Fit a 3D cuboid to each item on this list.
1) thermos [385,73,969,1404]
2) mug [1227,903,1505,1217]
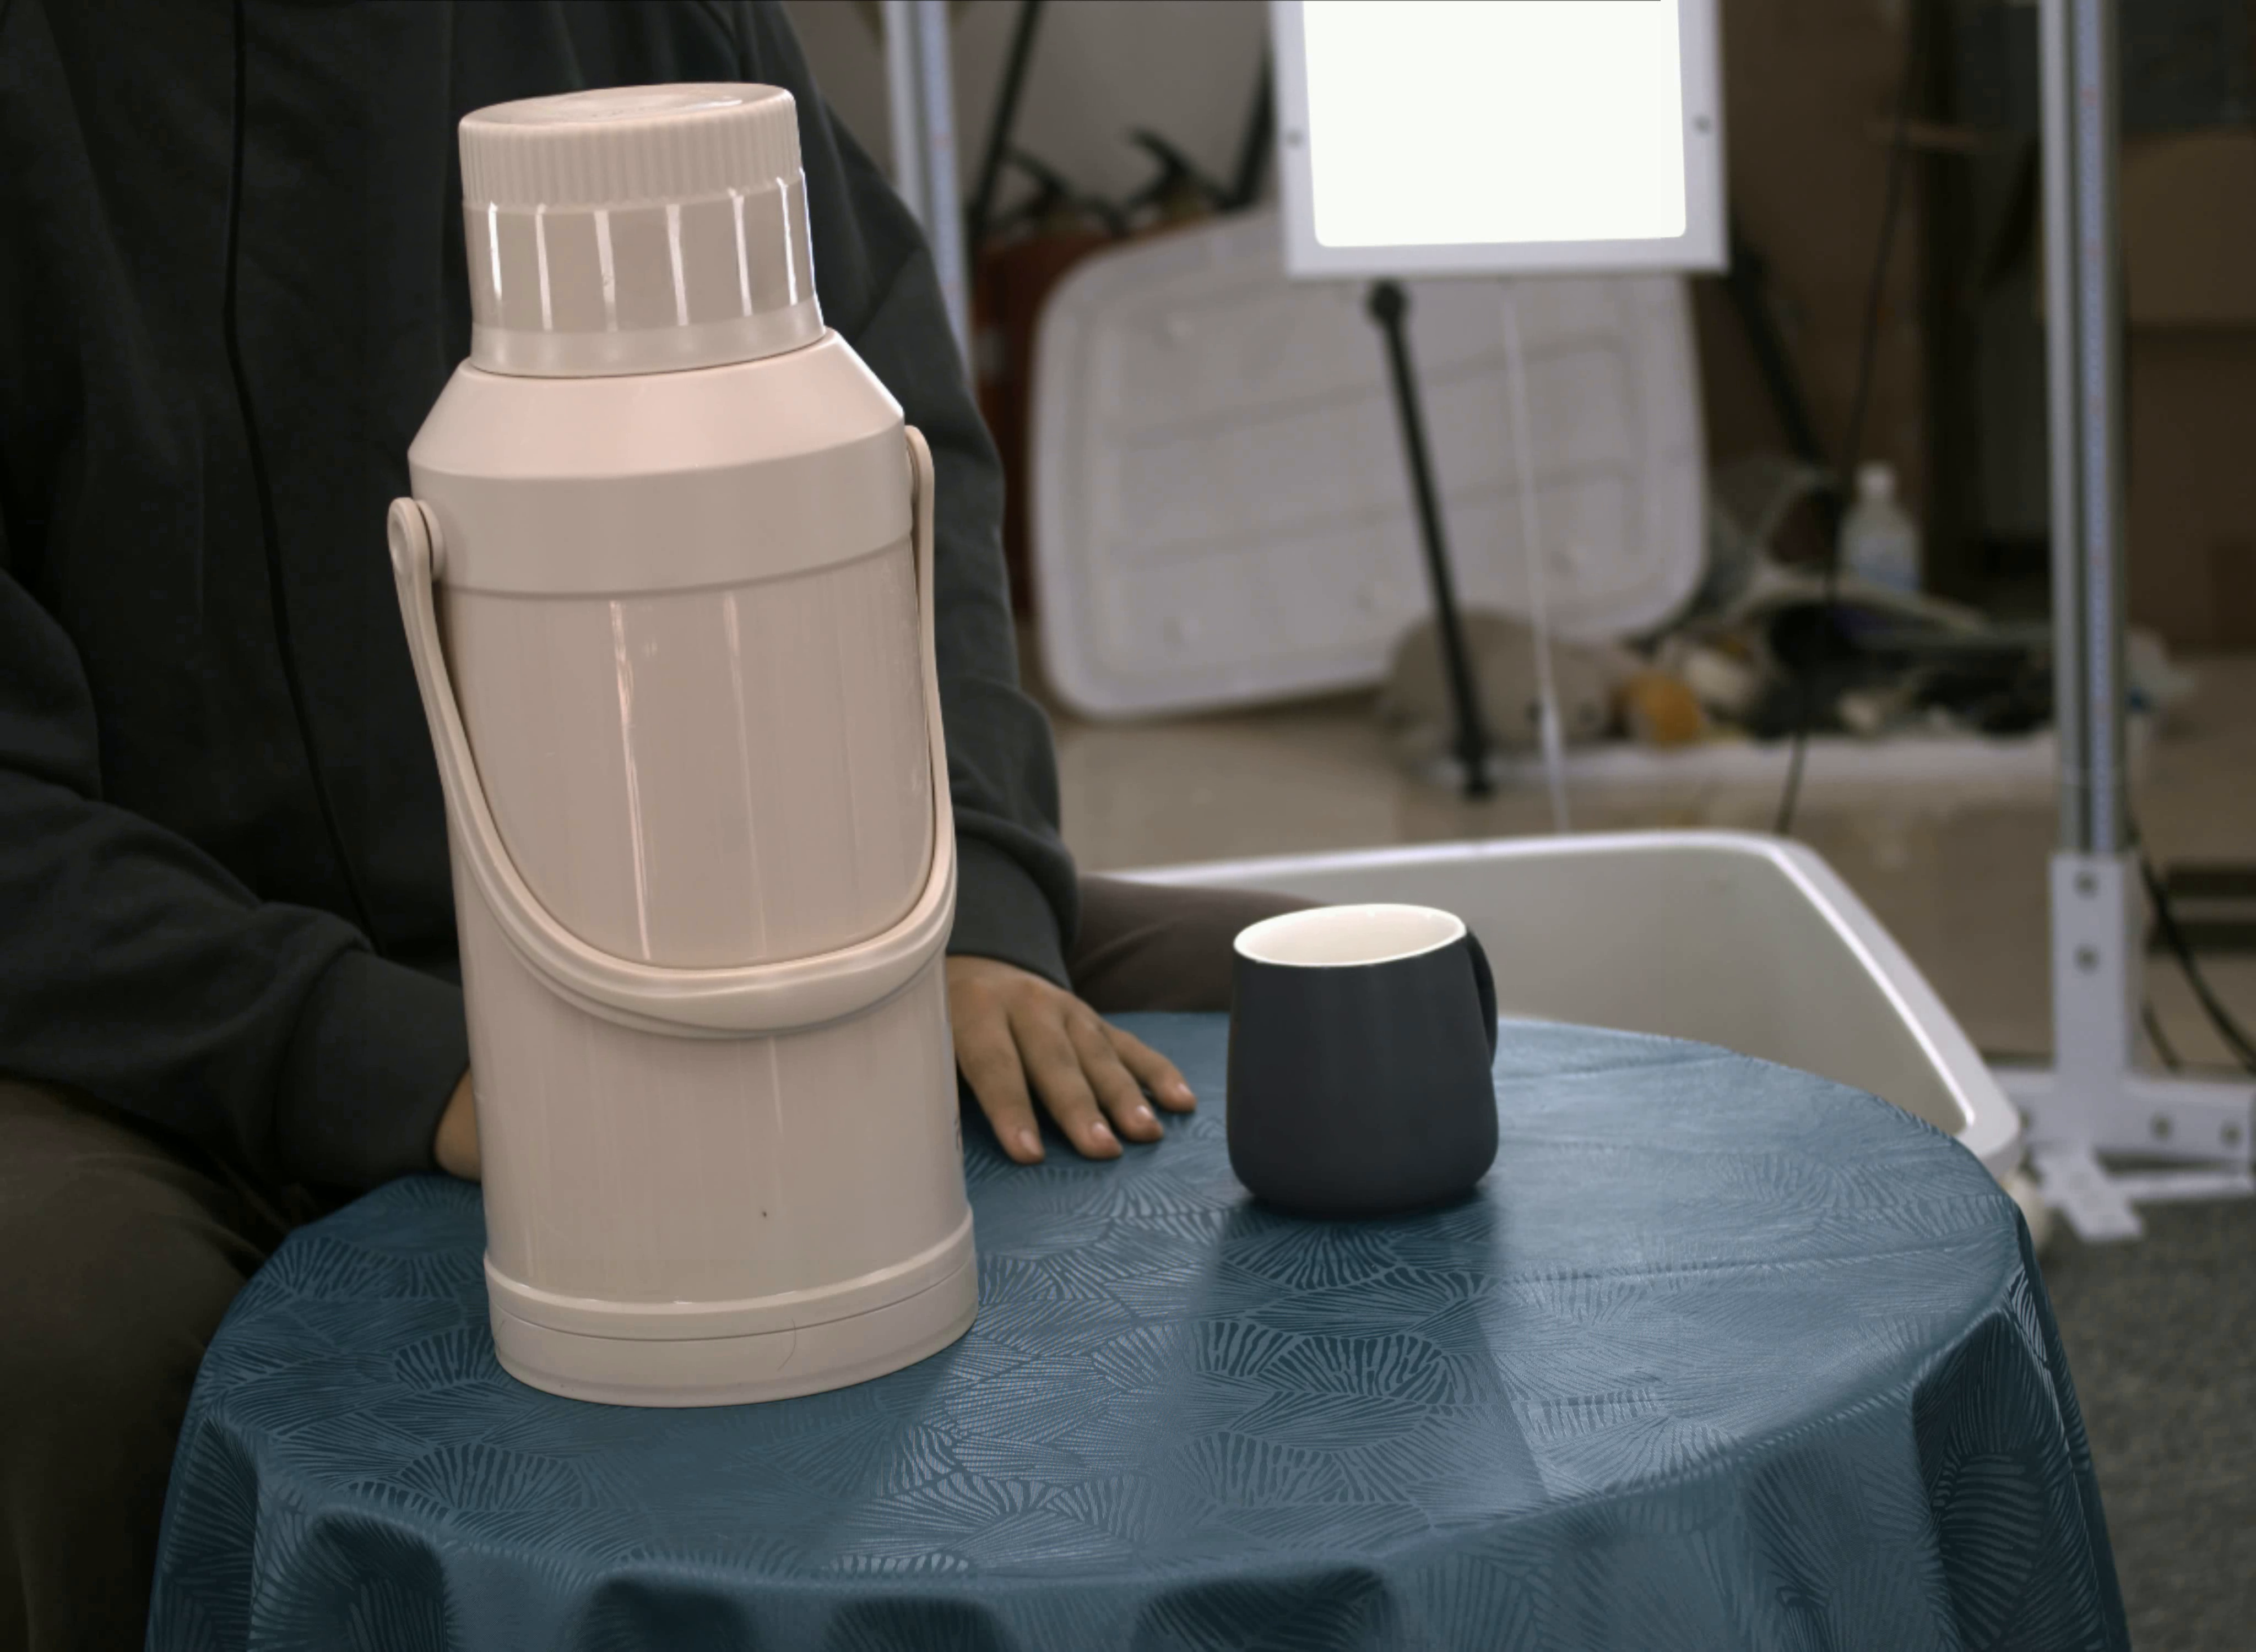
[{"bbox_3d":[-0.147,-0.033,1.762,0.172,0.408,0.210,-11,16,-22],"label":"thermos"},{"bbox_3d":[0.089,0.076,1.882,0.095,0.090,0.120,7,18,41],"label":"mug"}]
